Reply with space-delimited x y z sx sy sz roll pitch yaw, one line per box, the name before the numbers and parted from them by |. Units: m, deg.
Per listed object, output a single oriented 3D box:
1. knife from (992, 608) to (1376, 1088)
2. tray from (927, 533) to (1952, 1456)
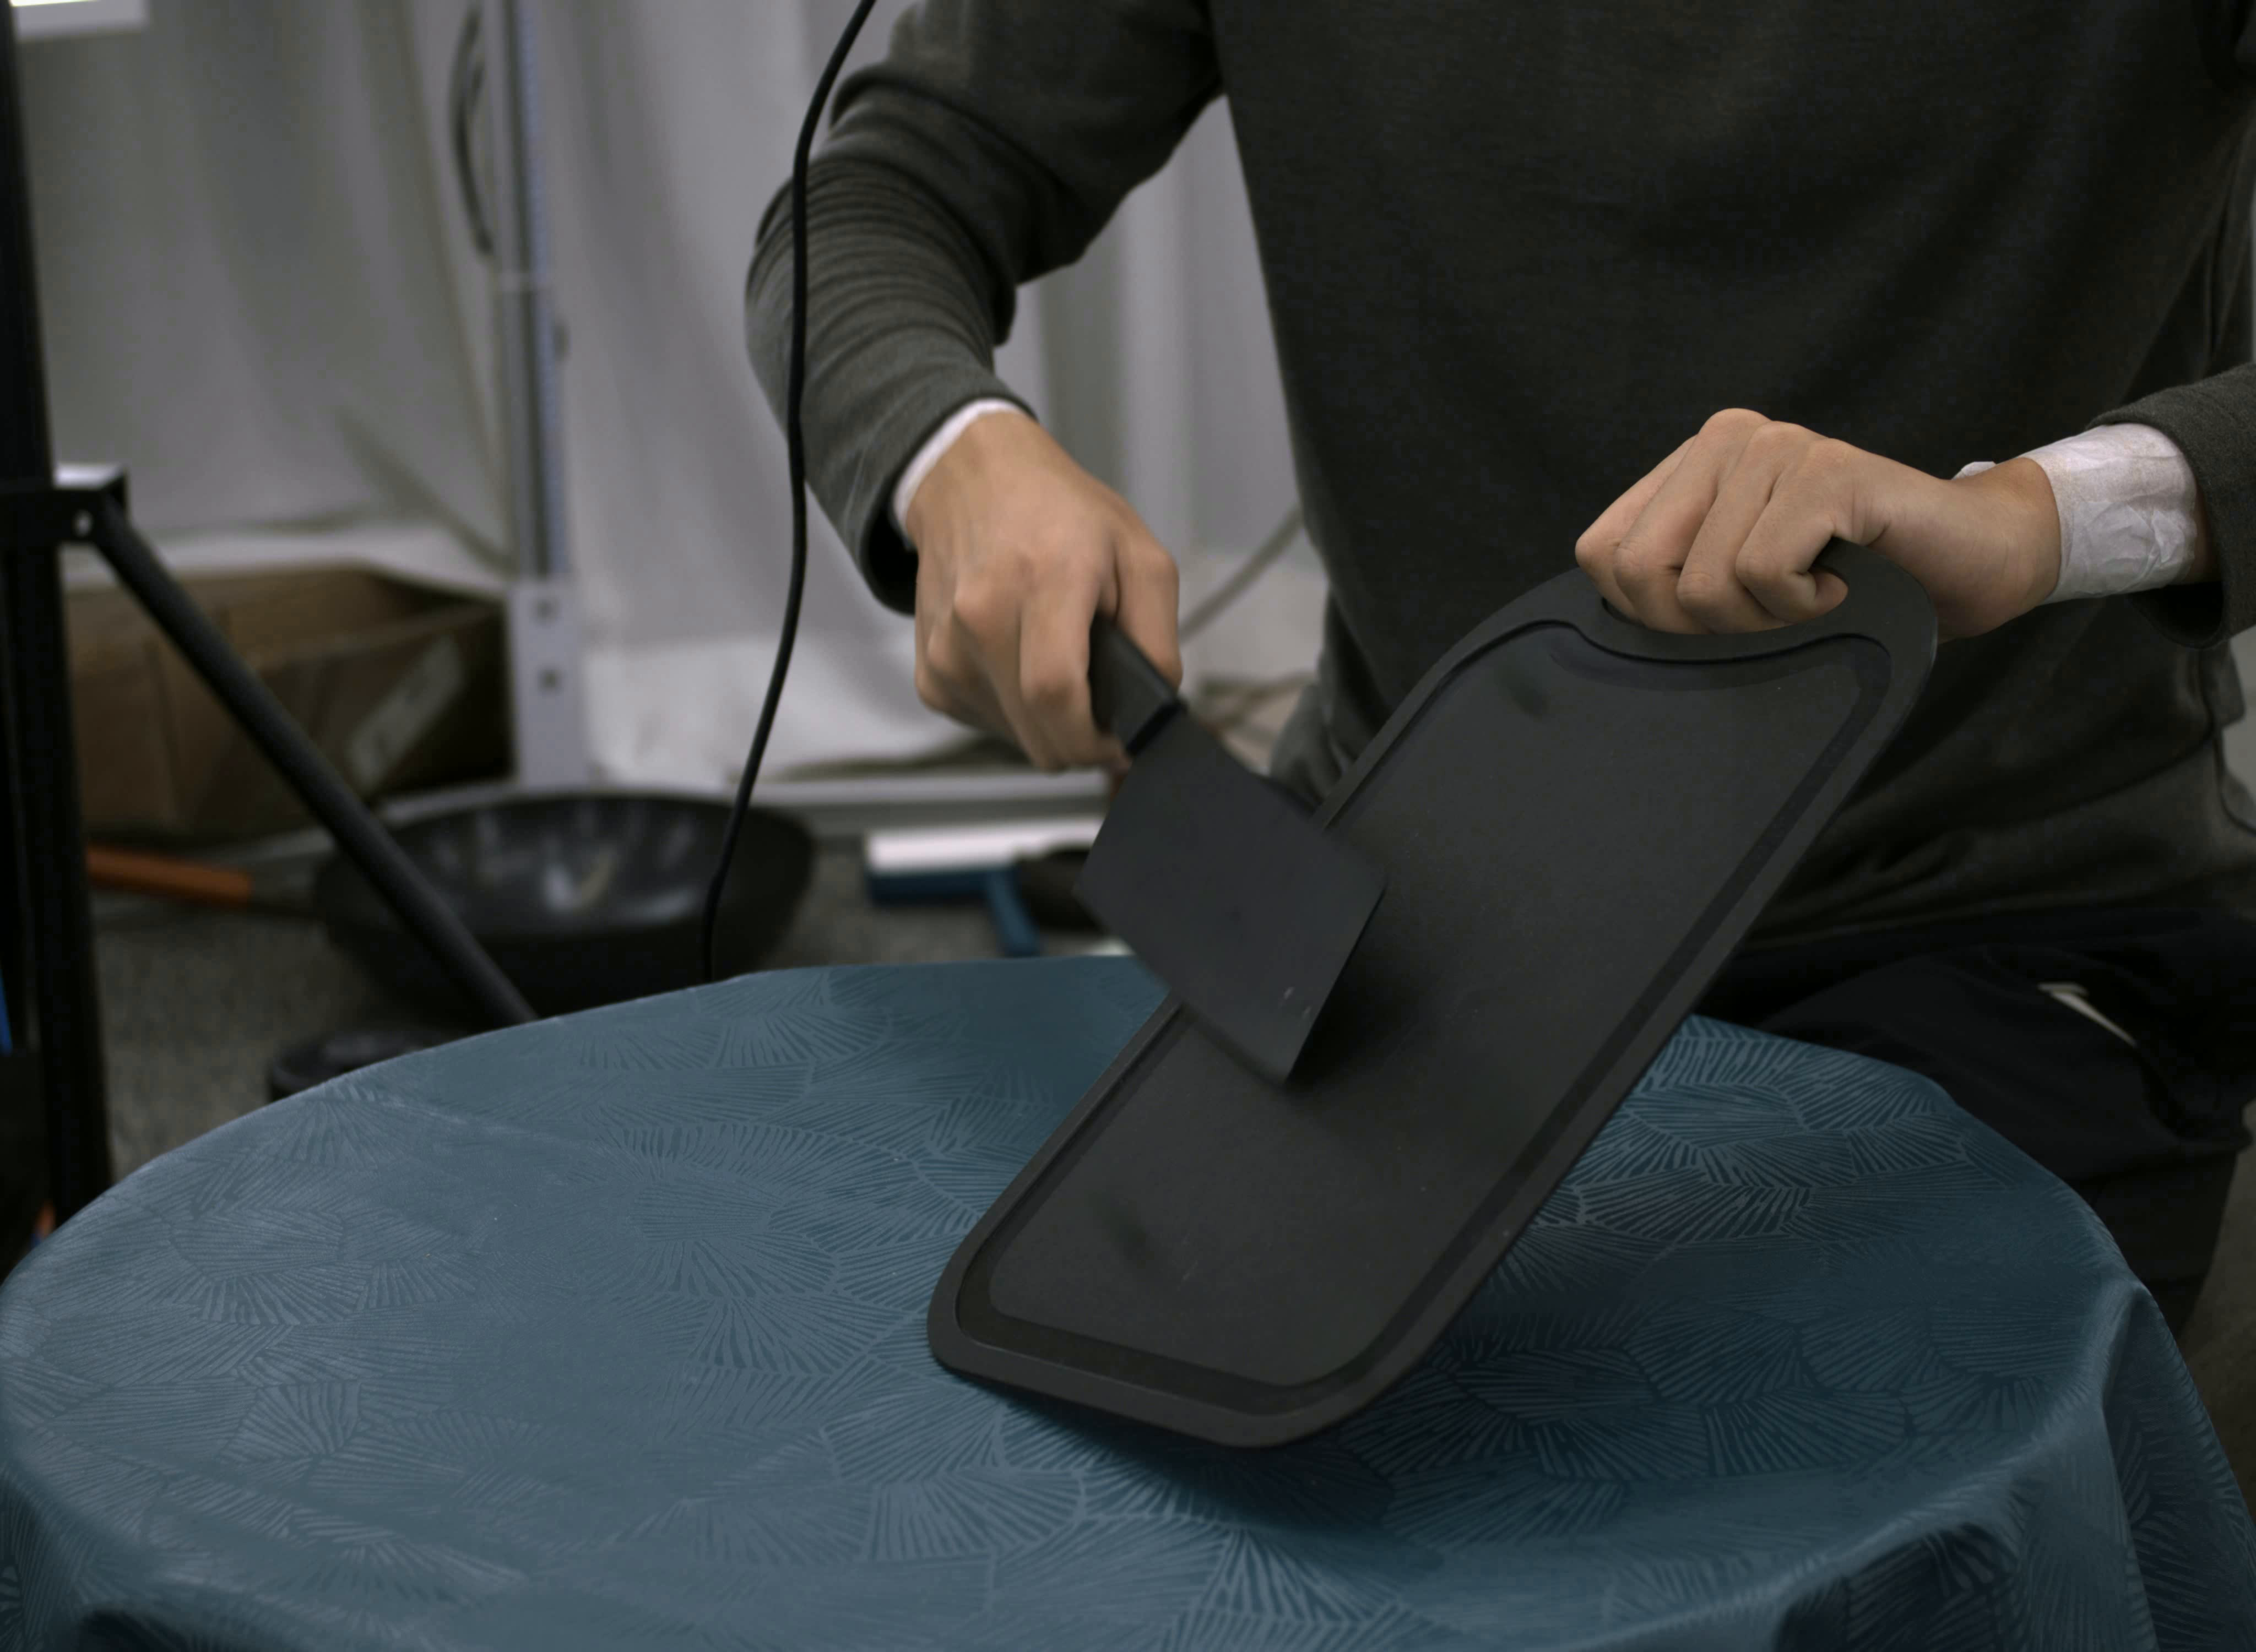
knife | 0.008 -0.001 1.556 0.020 0.081 0.307 25 12 -24
tray | 0.086 0.035 1.430 0.324 0.009 0.215 -50 28 -20
